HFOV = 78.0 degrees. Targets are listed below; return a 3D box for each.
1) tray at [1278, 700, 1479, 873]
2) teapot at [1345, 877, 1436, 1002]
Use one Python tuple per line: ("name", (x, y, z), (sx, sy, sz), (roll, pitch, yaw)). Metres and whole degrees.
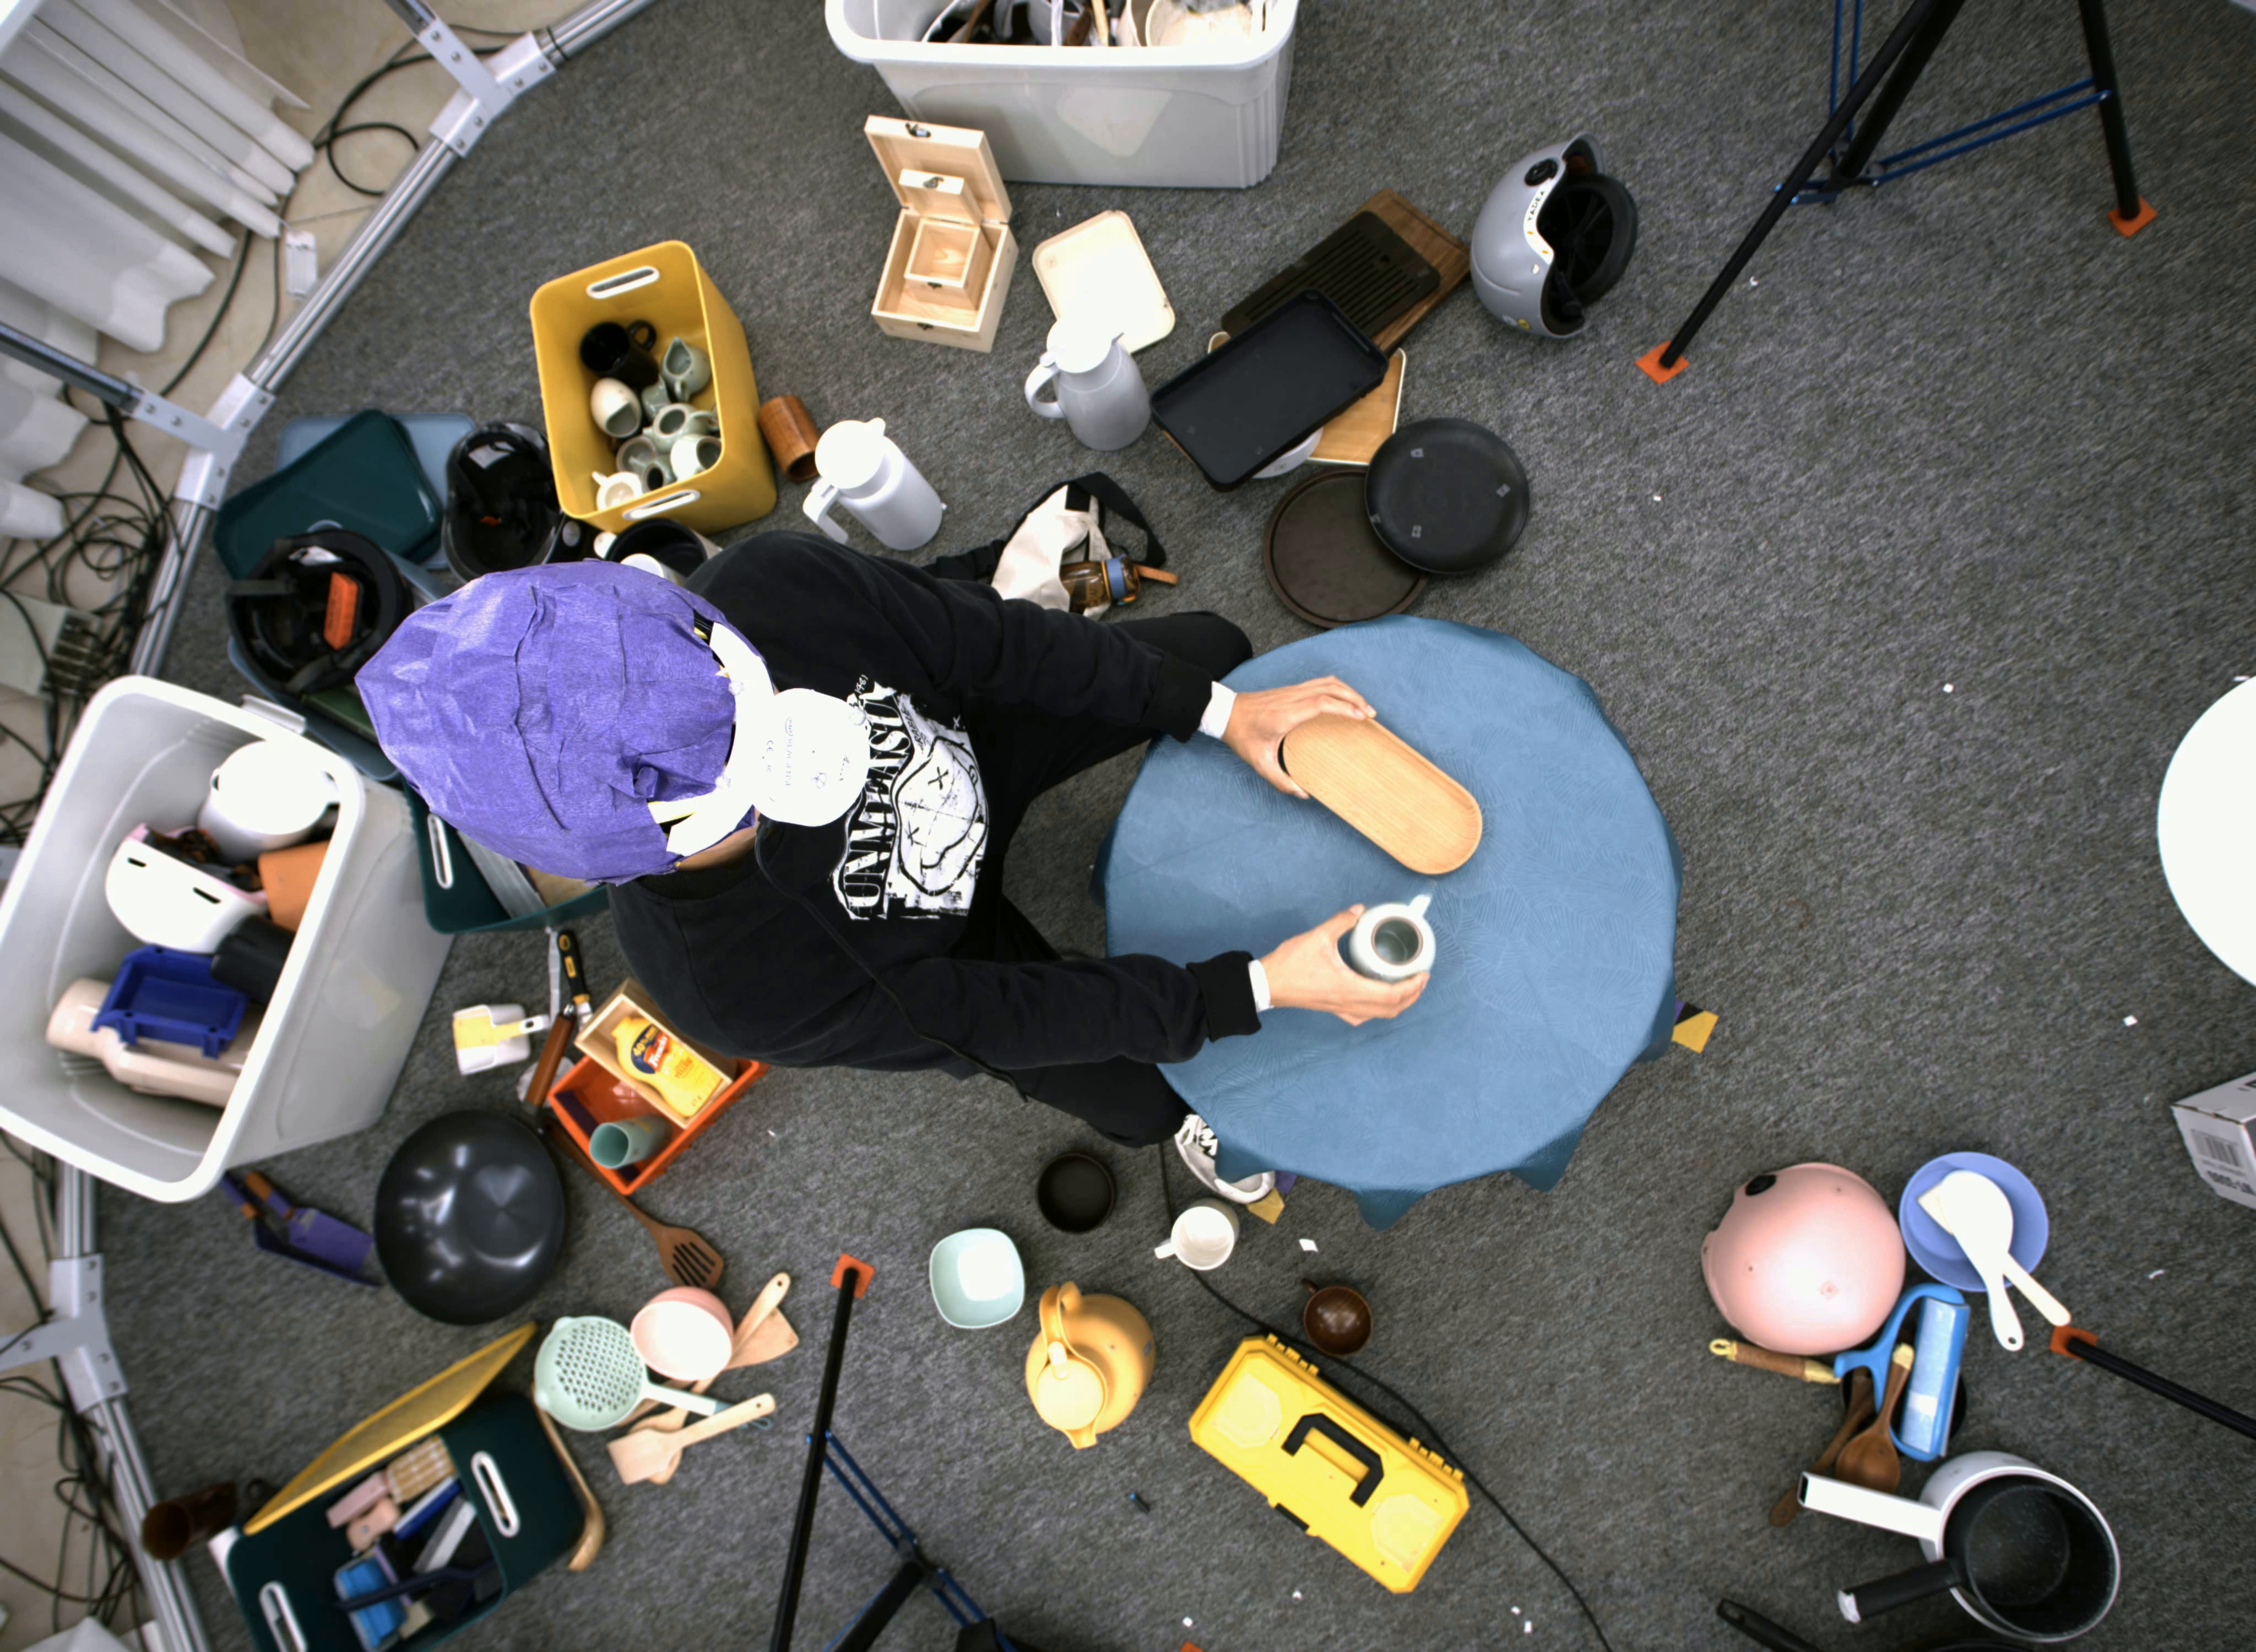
("tray", (0.259, -0.042, 1.428), (0.231, 0.020, 0.102), (37, 101, 3))
("teapot", (0.261, 0.116, 1.380), (0.088, 0.076, 0.142), (35, 73, 9))
